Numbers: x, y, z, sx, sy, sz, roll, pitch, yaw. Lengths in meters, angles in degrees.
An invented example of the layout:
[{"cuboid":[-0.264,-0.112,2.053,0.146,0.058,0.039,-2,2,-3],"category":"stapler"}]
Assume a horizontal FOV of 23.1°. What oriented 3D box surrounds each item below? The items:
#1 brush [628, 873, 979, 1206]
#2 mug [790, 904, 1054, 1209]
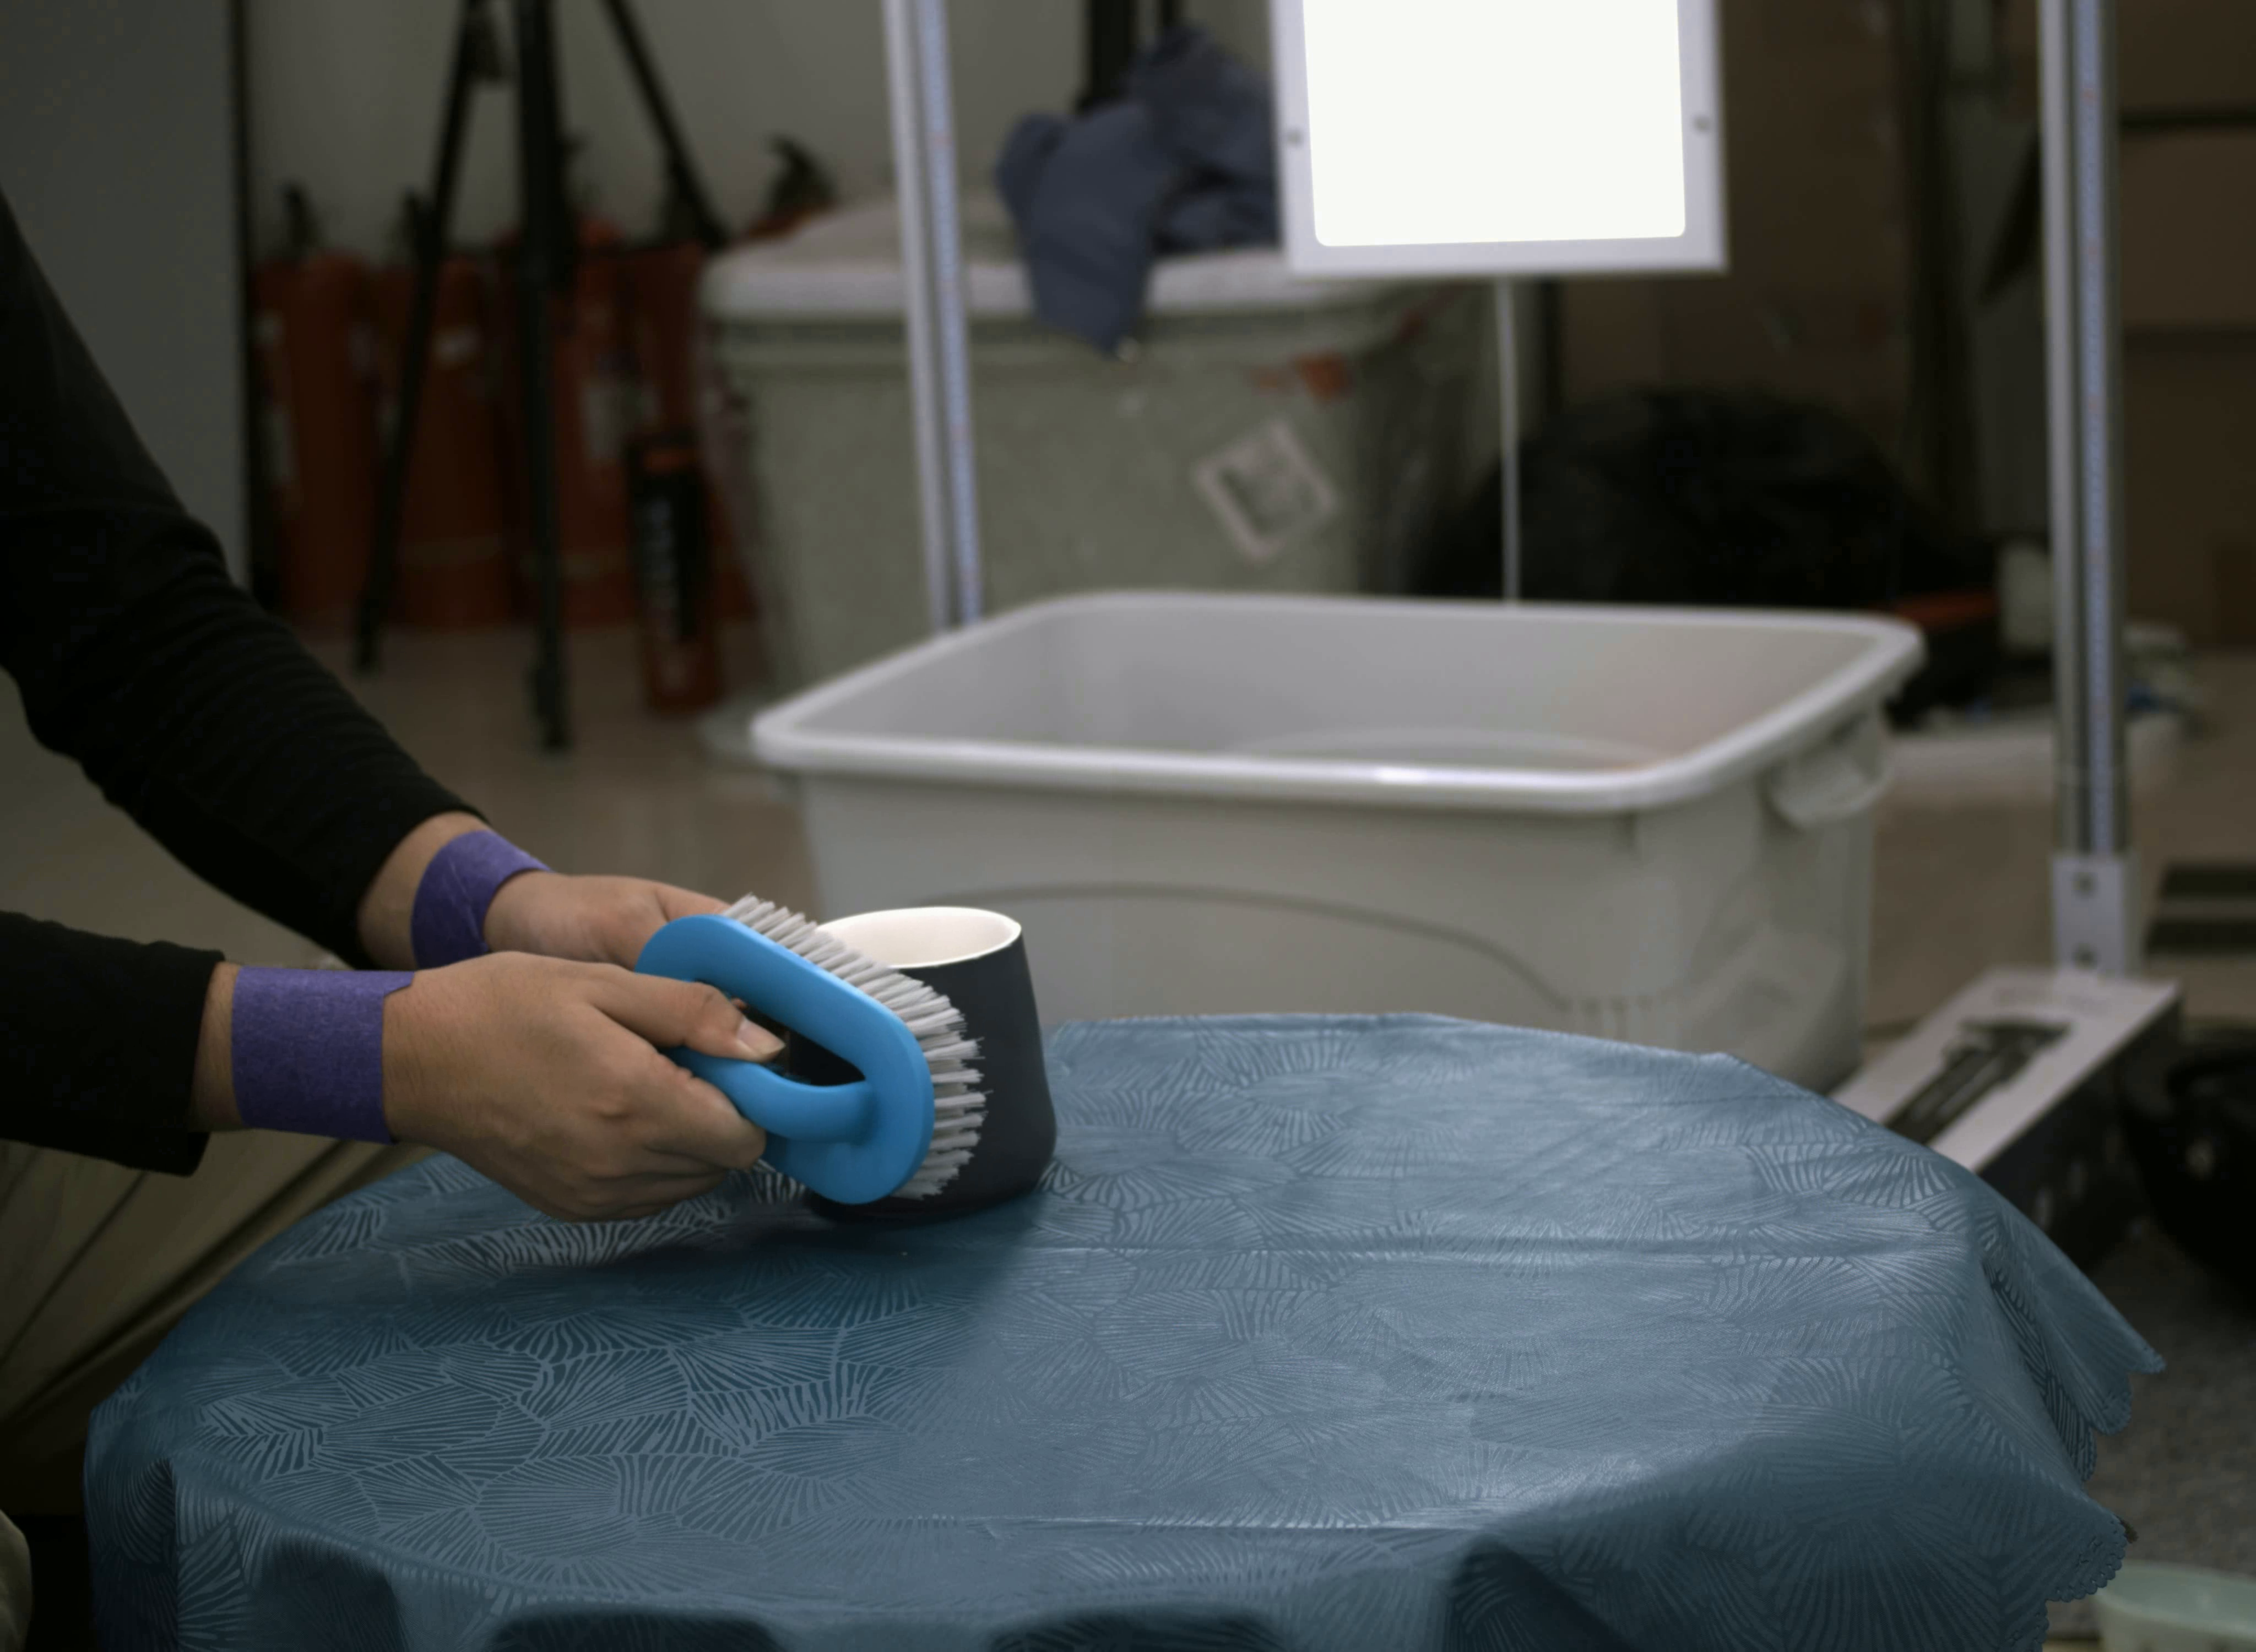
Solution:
[{"cuboid":[-0.120,0.076,1.856,0.144,0.085,0.062,30,29,34],"category":"brush"},{"cuboid":[-0.086,0.078,1.924,0.125,0.090,0.091,6,16,32],"category":"mug"}]
